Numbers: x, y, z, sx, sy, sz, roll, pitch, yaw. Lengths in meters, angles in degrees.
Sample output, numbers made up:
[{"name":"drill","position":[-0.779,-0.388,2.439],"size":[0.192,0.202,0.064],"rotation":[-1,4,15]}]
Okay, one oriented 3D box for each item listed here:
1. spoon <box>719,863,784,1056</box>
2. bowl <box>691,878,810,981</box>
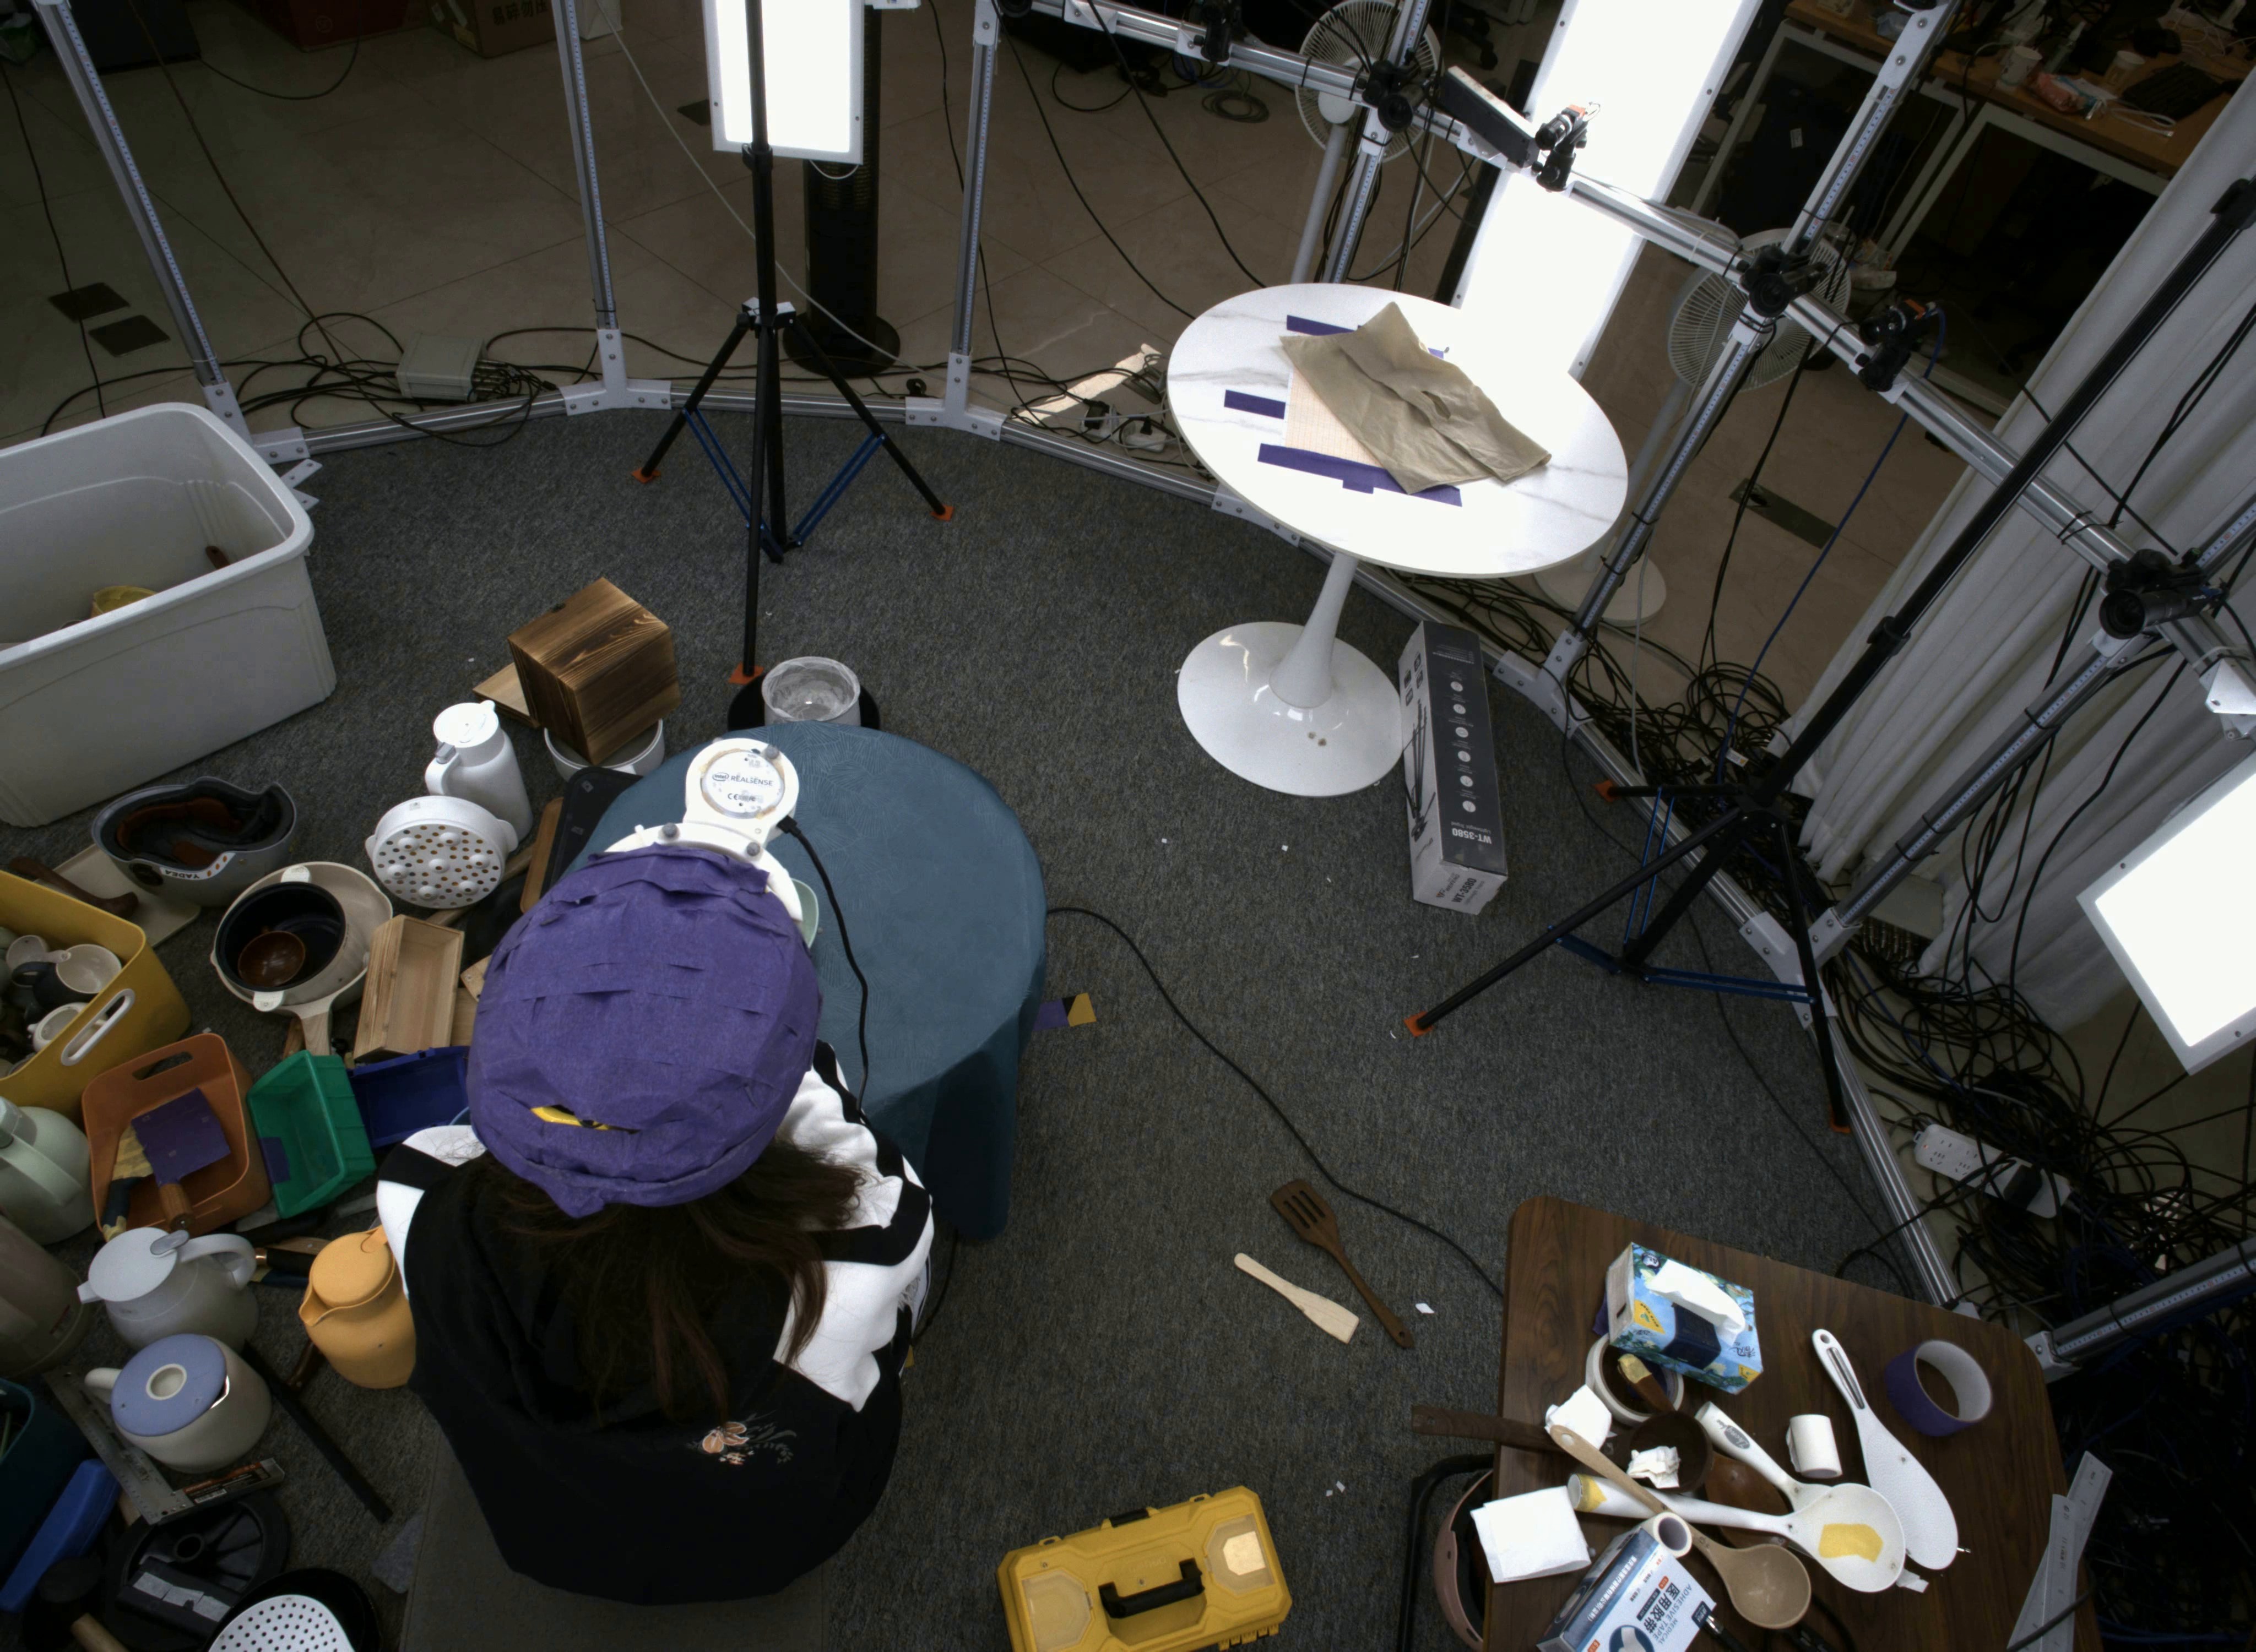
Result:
[{"name":"spoon","position":[-0.417,0.147,1.486],"size":[0.059,0.103,0.268],"rotation":[-19,49,-23]},{"name":"bowl","position":[-0.457,0.135,1.576],"size":[0.151,0.060,0.149],"rotation":[8,52,-8]}]
